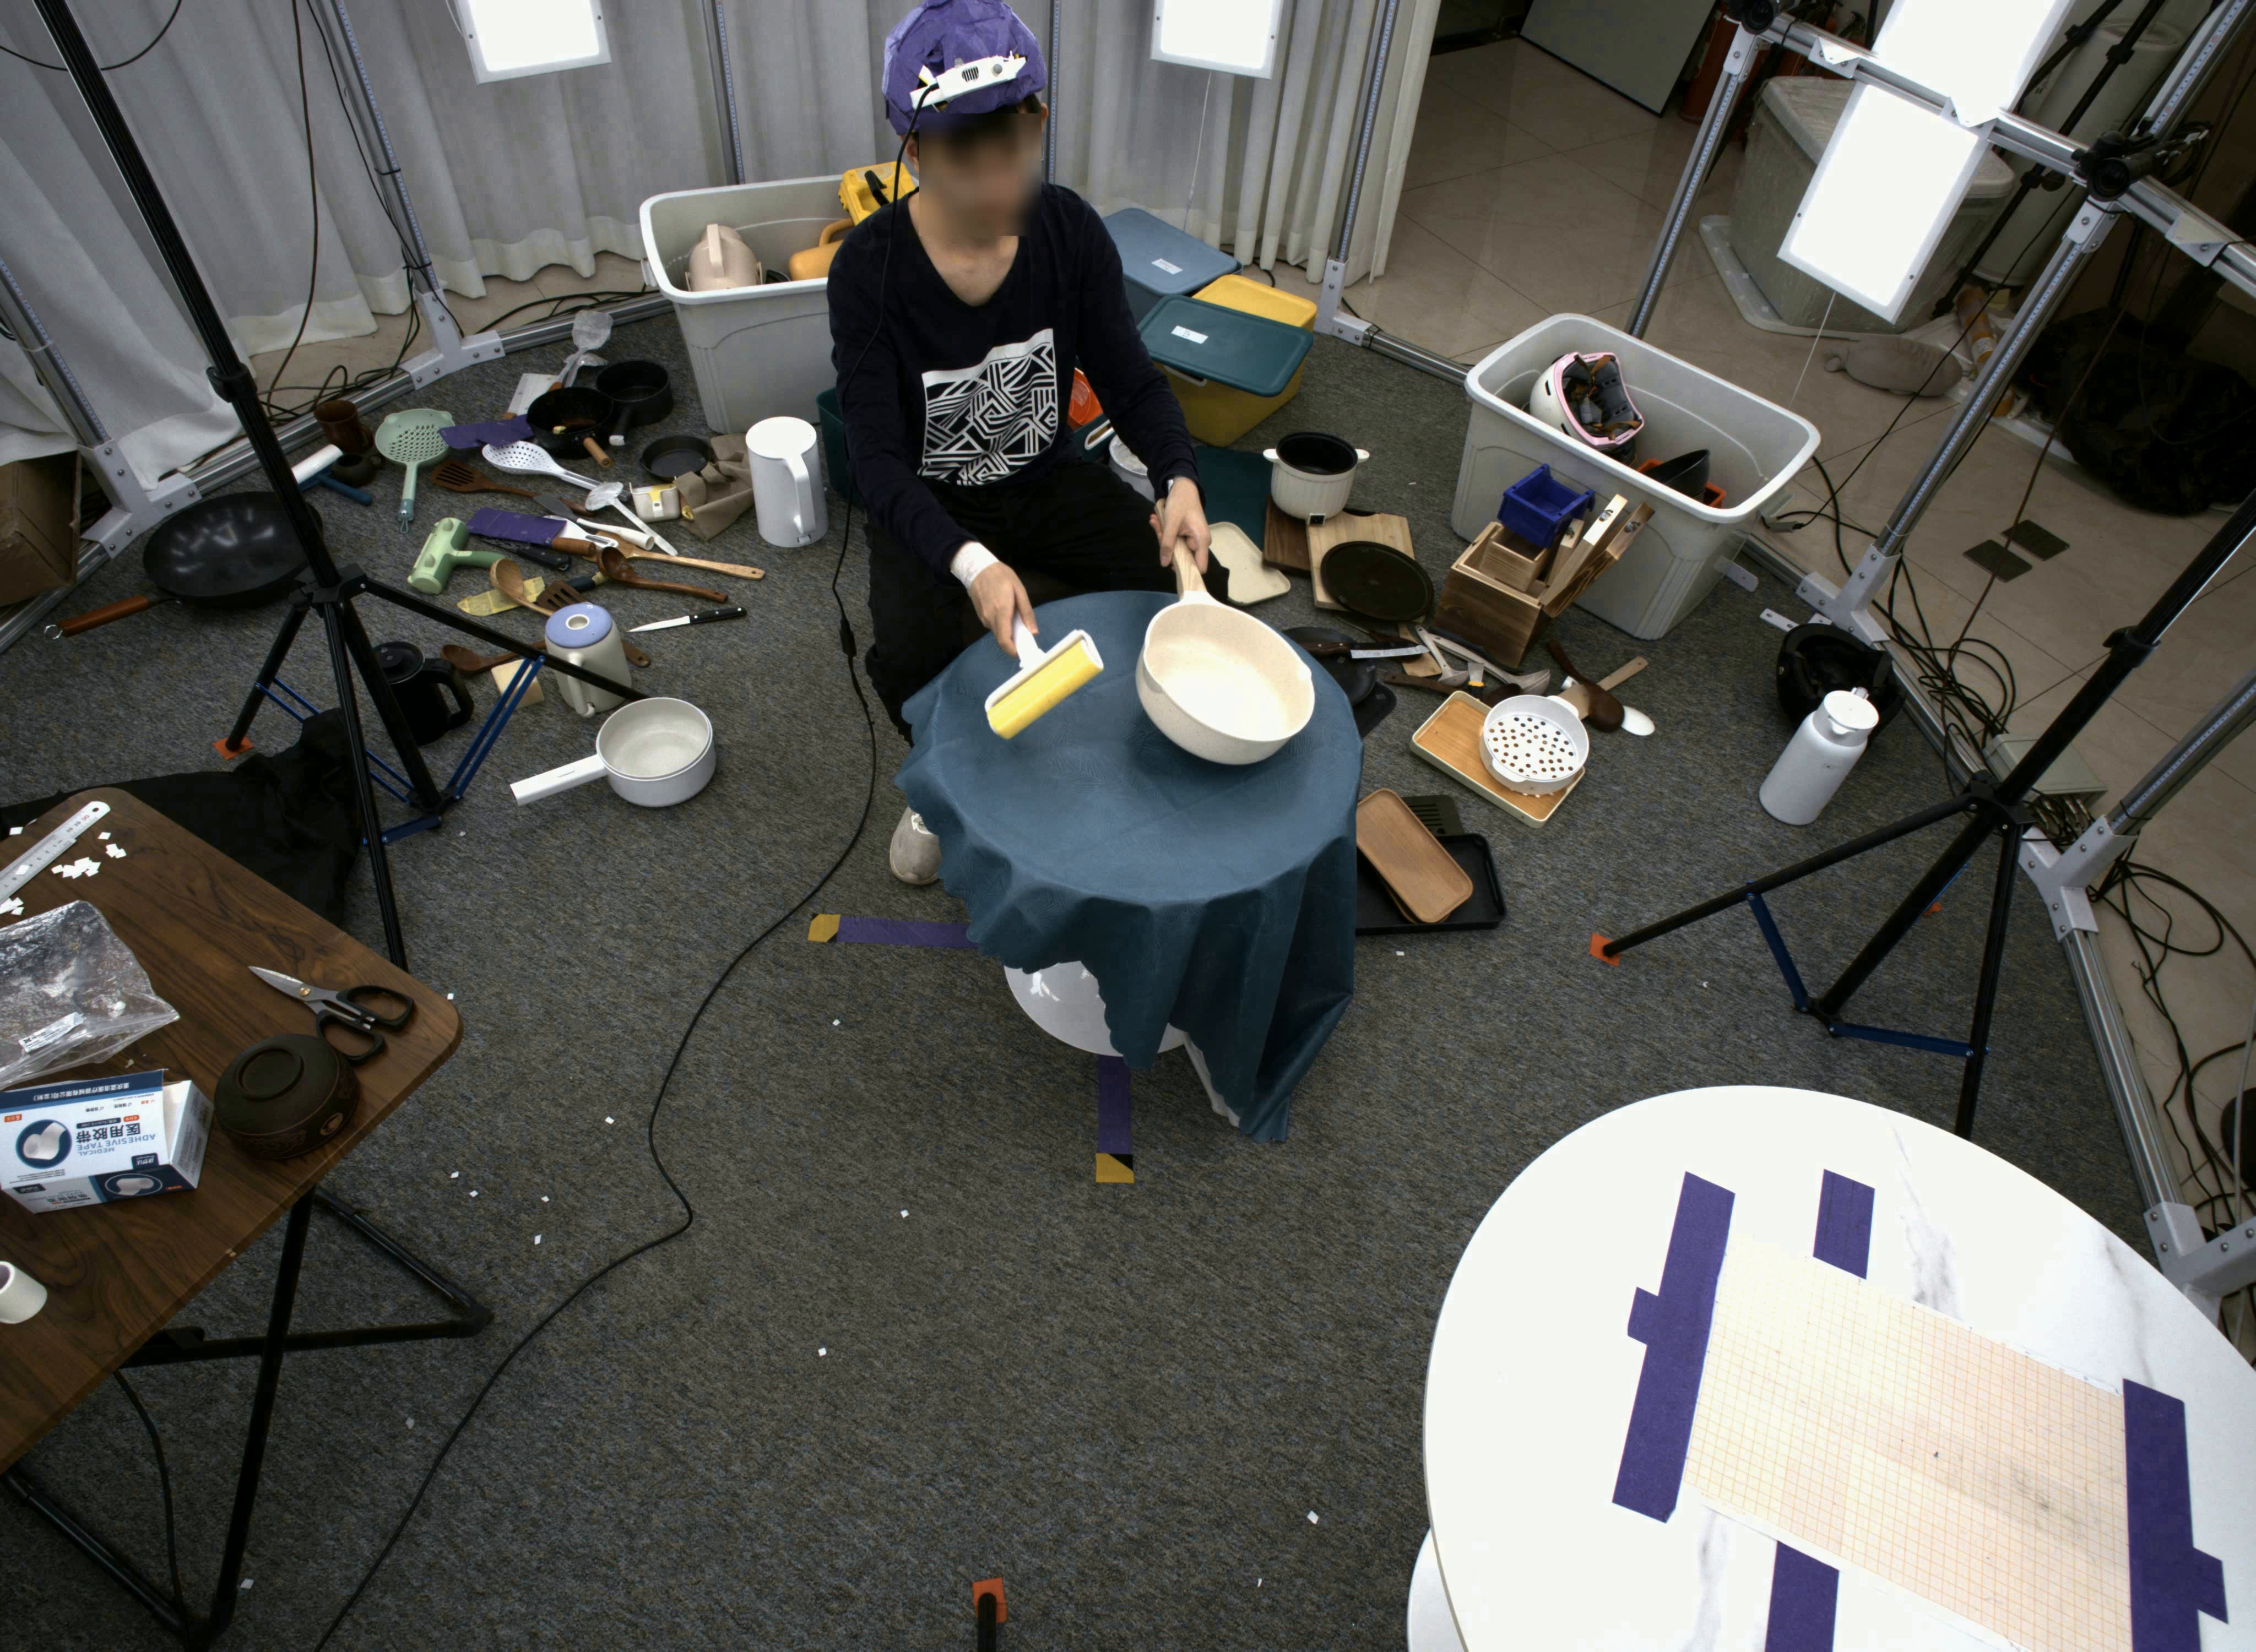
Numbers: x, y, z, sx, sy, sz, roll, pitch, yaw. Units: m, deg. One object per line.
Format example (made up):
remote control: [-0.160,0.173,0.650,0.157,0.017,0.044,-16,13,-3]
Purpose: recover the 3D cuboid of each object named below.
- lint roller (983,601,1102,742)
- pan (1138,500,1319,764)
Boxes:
lint roller: [-0.140,-0.231,1.704,0.173,0.051,0.196,-35,63,16]
pan: [0.103,-0.269,1.799,0.262,0.100,0.445,-4,55,-26]
